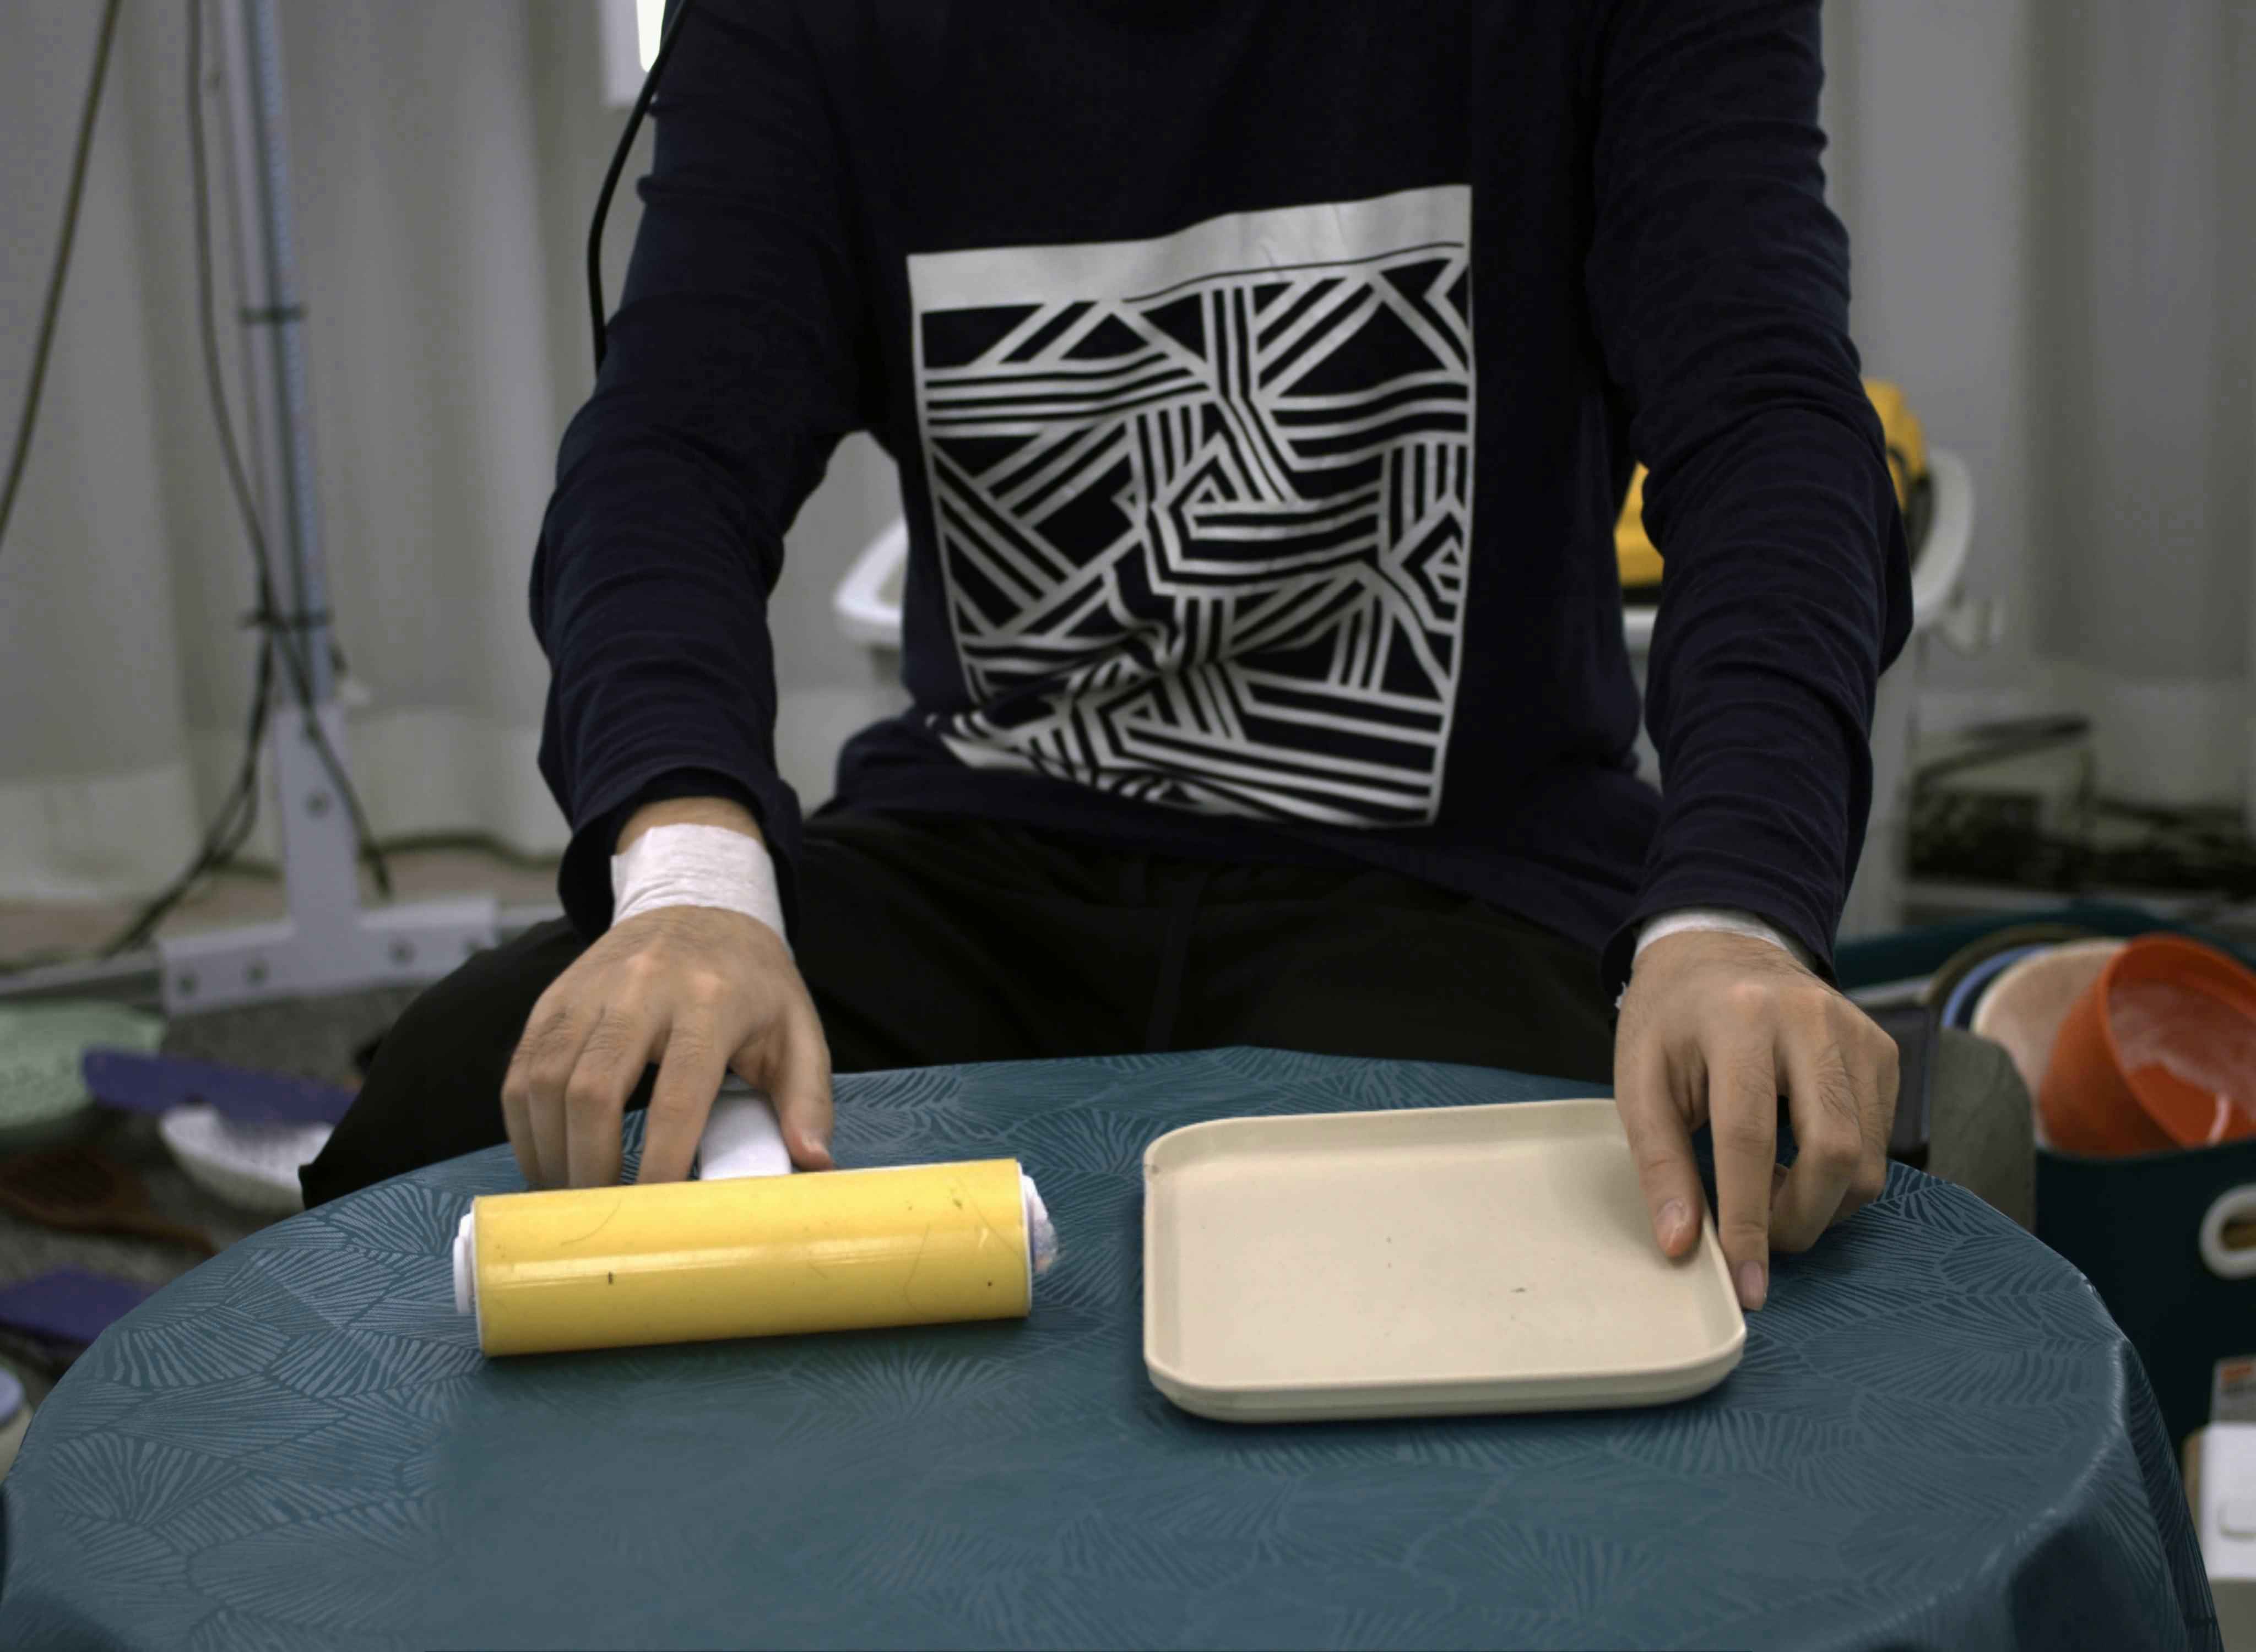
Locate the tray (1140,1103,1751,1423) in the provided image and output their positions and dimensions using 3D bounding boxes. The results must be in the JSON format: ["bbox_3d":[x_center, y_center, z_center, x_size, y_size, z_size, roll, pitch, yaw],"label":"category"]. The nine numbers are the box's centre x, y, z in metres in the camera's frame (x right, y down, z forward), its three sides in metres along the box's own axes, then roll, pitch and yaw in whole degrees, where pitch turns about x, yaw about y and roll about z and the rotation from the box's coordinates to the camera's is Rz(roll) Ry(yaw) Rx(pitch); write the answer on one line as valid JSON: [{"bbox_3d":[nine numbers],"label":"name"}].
[{"bbox_3d":[0.089,0.128,1.615,0.171,0.017,0.241,-2,15,1],"label":"tray"}]

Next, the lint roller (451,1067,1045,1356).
[{"bbox_3d":[-0.120,0.101,1.668,0.173,0.051,0.194,-3,24,-6],"label":"lint roller"}]
